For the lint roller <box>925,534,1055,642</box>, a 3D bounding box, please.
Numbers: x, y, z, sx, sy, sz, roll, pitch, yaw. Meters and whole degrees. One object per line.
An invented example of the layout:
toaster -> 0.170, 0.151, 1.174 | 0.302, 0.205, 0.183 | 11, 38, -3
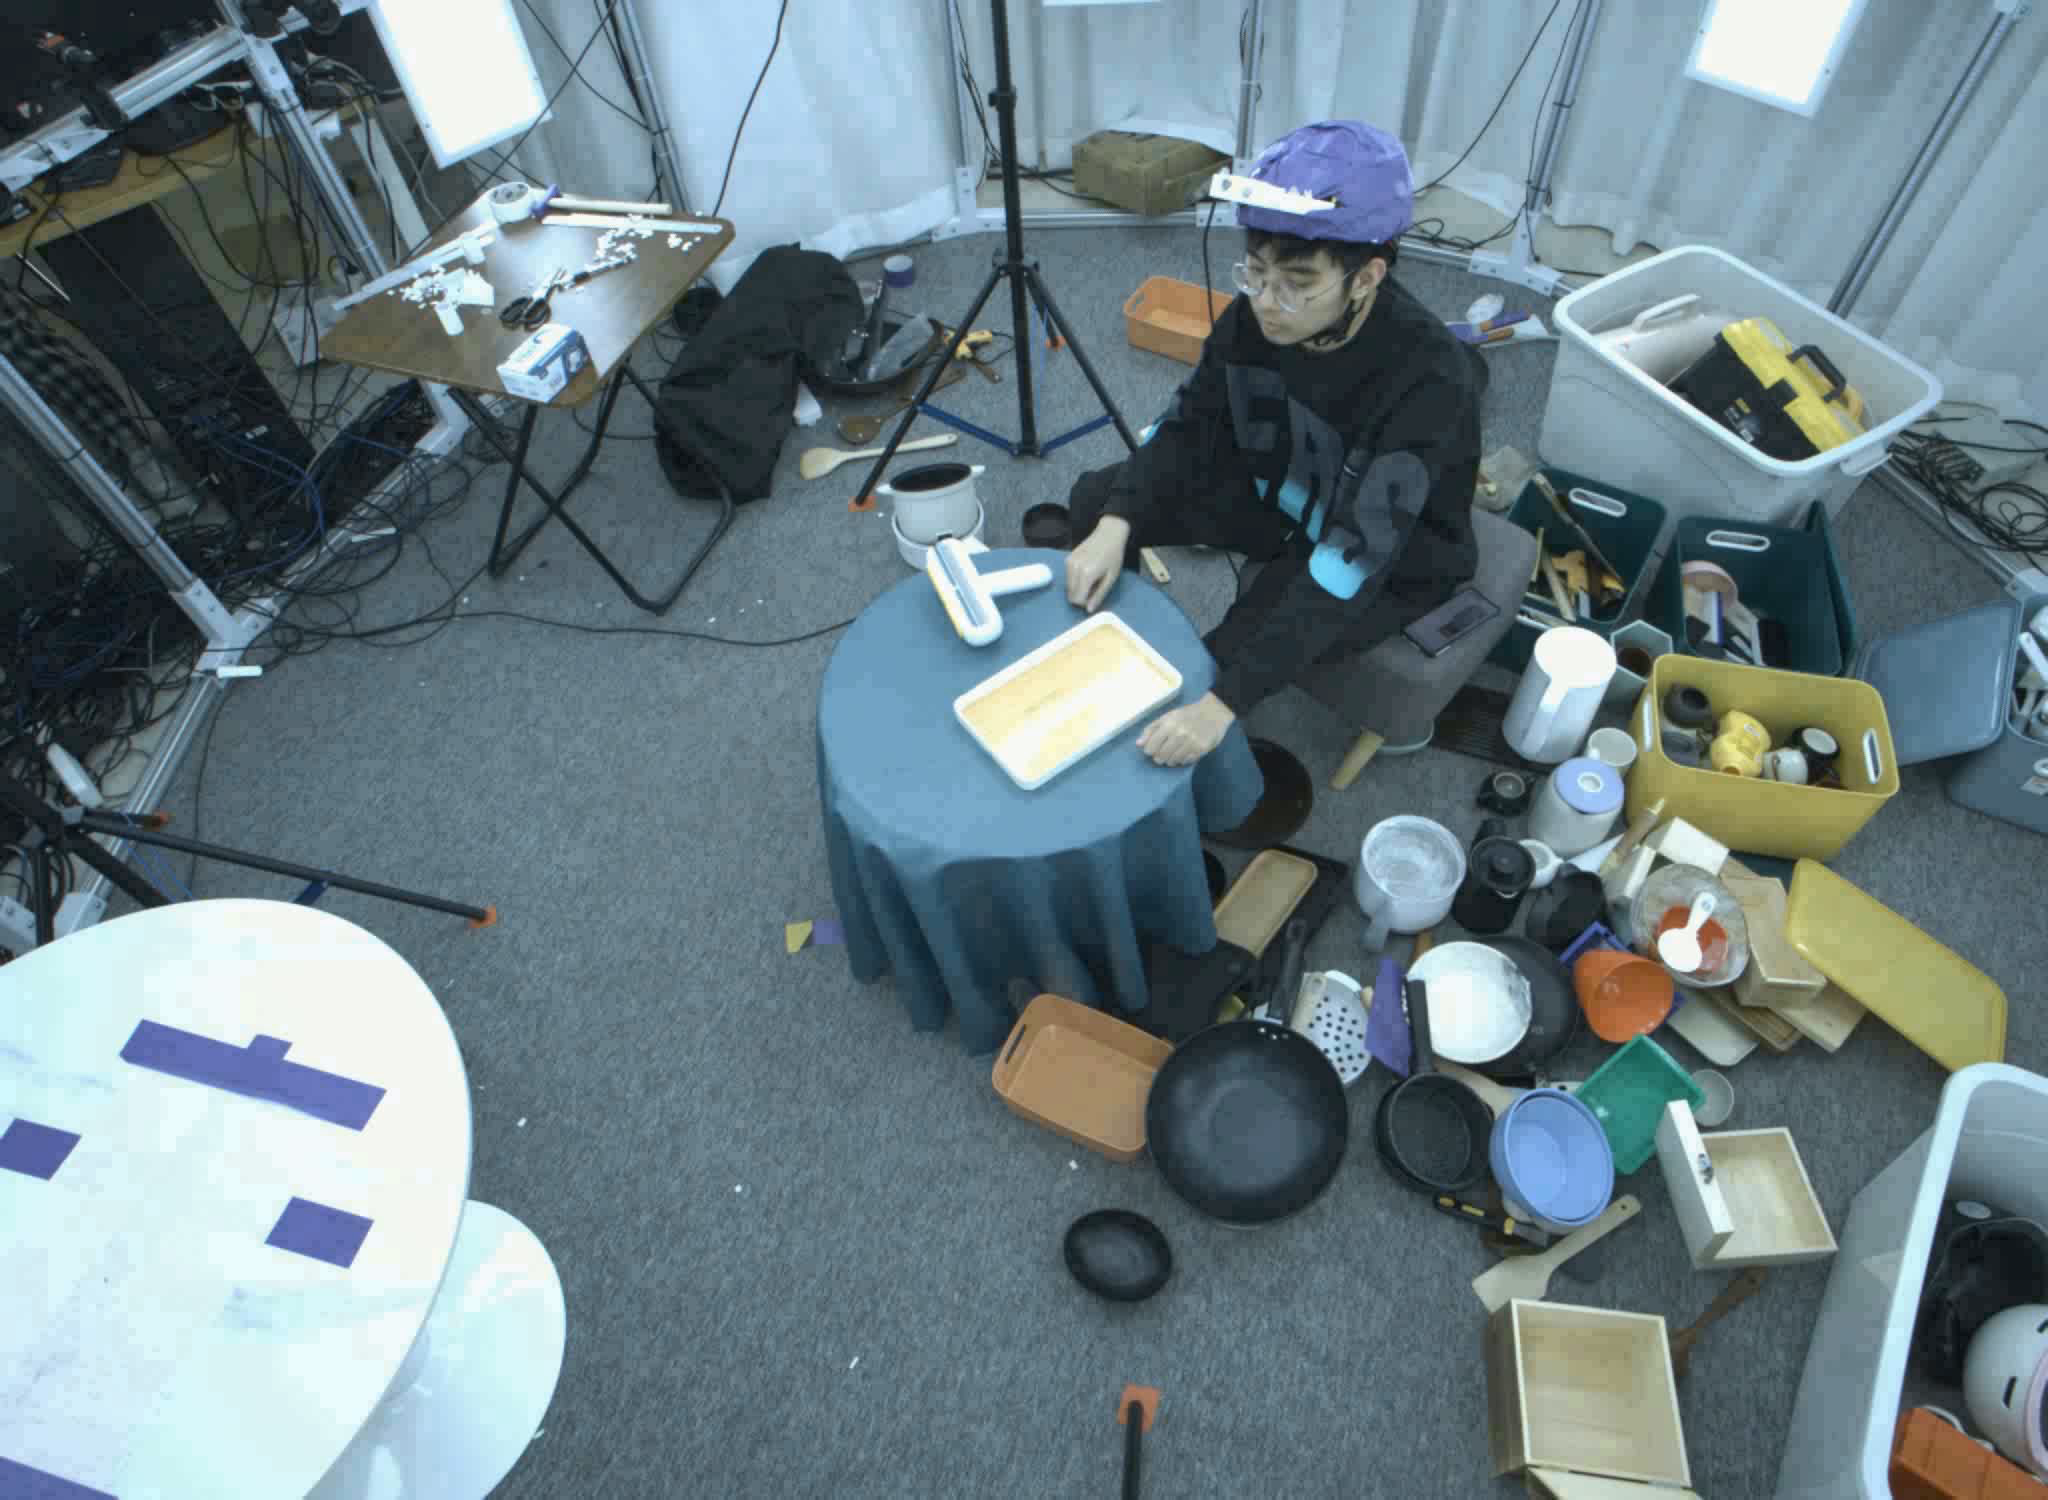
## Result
lint roller -> -0.043, -0.266, 1.931 | 0.194, 0.075, 0.190 | -18, 61, -12

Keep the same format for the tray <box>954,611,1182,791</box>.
tray -> 0.066, -0.077, 1.819 | 0.302, 0.028, 0.188 | -32, 61, -19
